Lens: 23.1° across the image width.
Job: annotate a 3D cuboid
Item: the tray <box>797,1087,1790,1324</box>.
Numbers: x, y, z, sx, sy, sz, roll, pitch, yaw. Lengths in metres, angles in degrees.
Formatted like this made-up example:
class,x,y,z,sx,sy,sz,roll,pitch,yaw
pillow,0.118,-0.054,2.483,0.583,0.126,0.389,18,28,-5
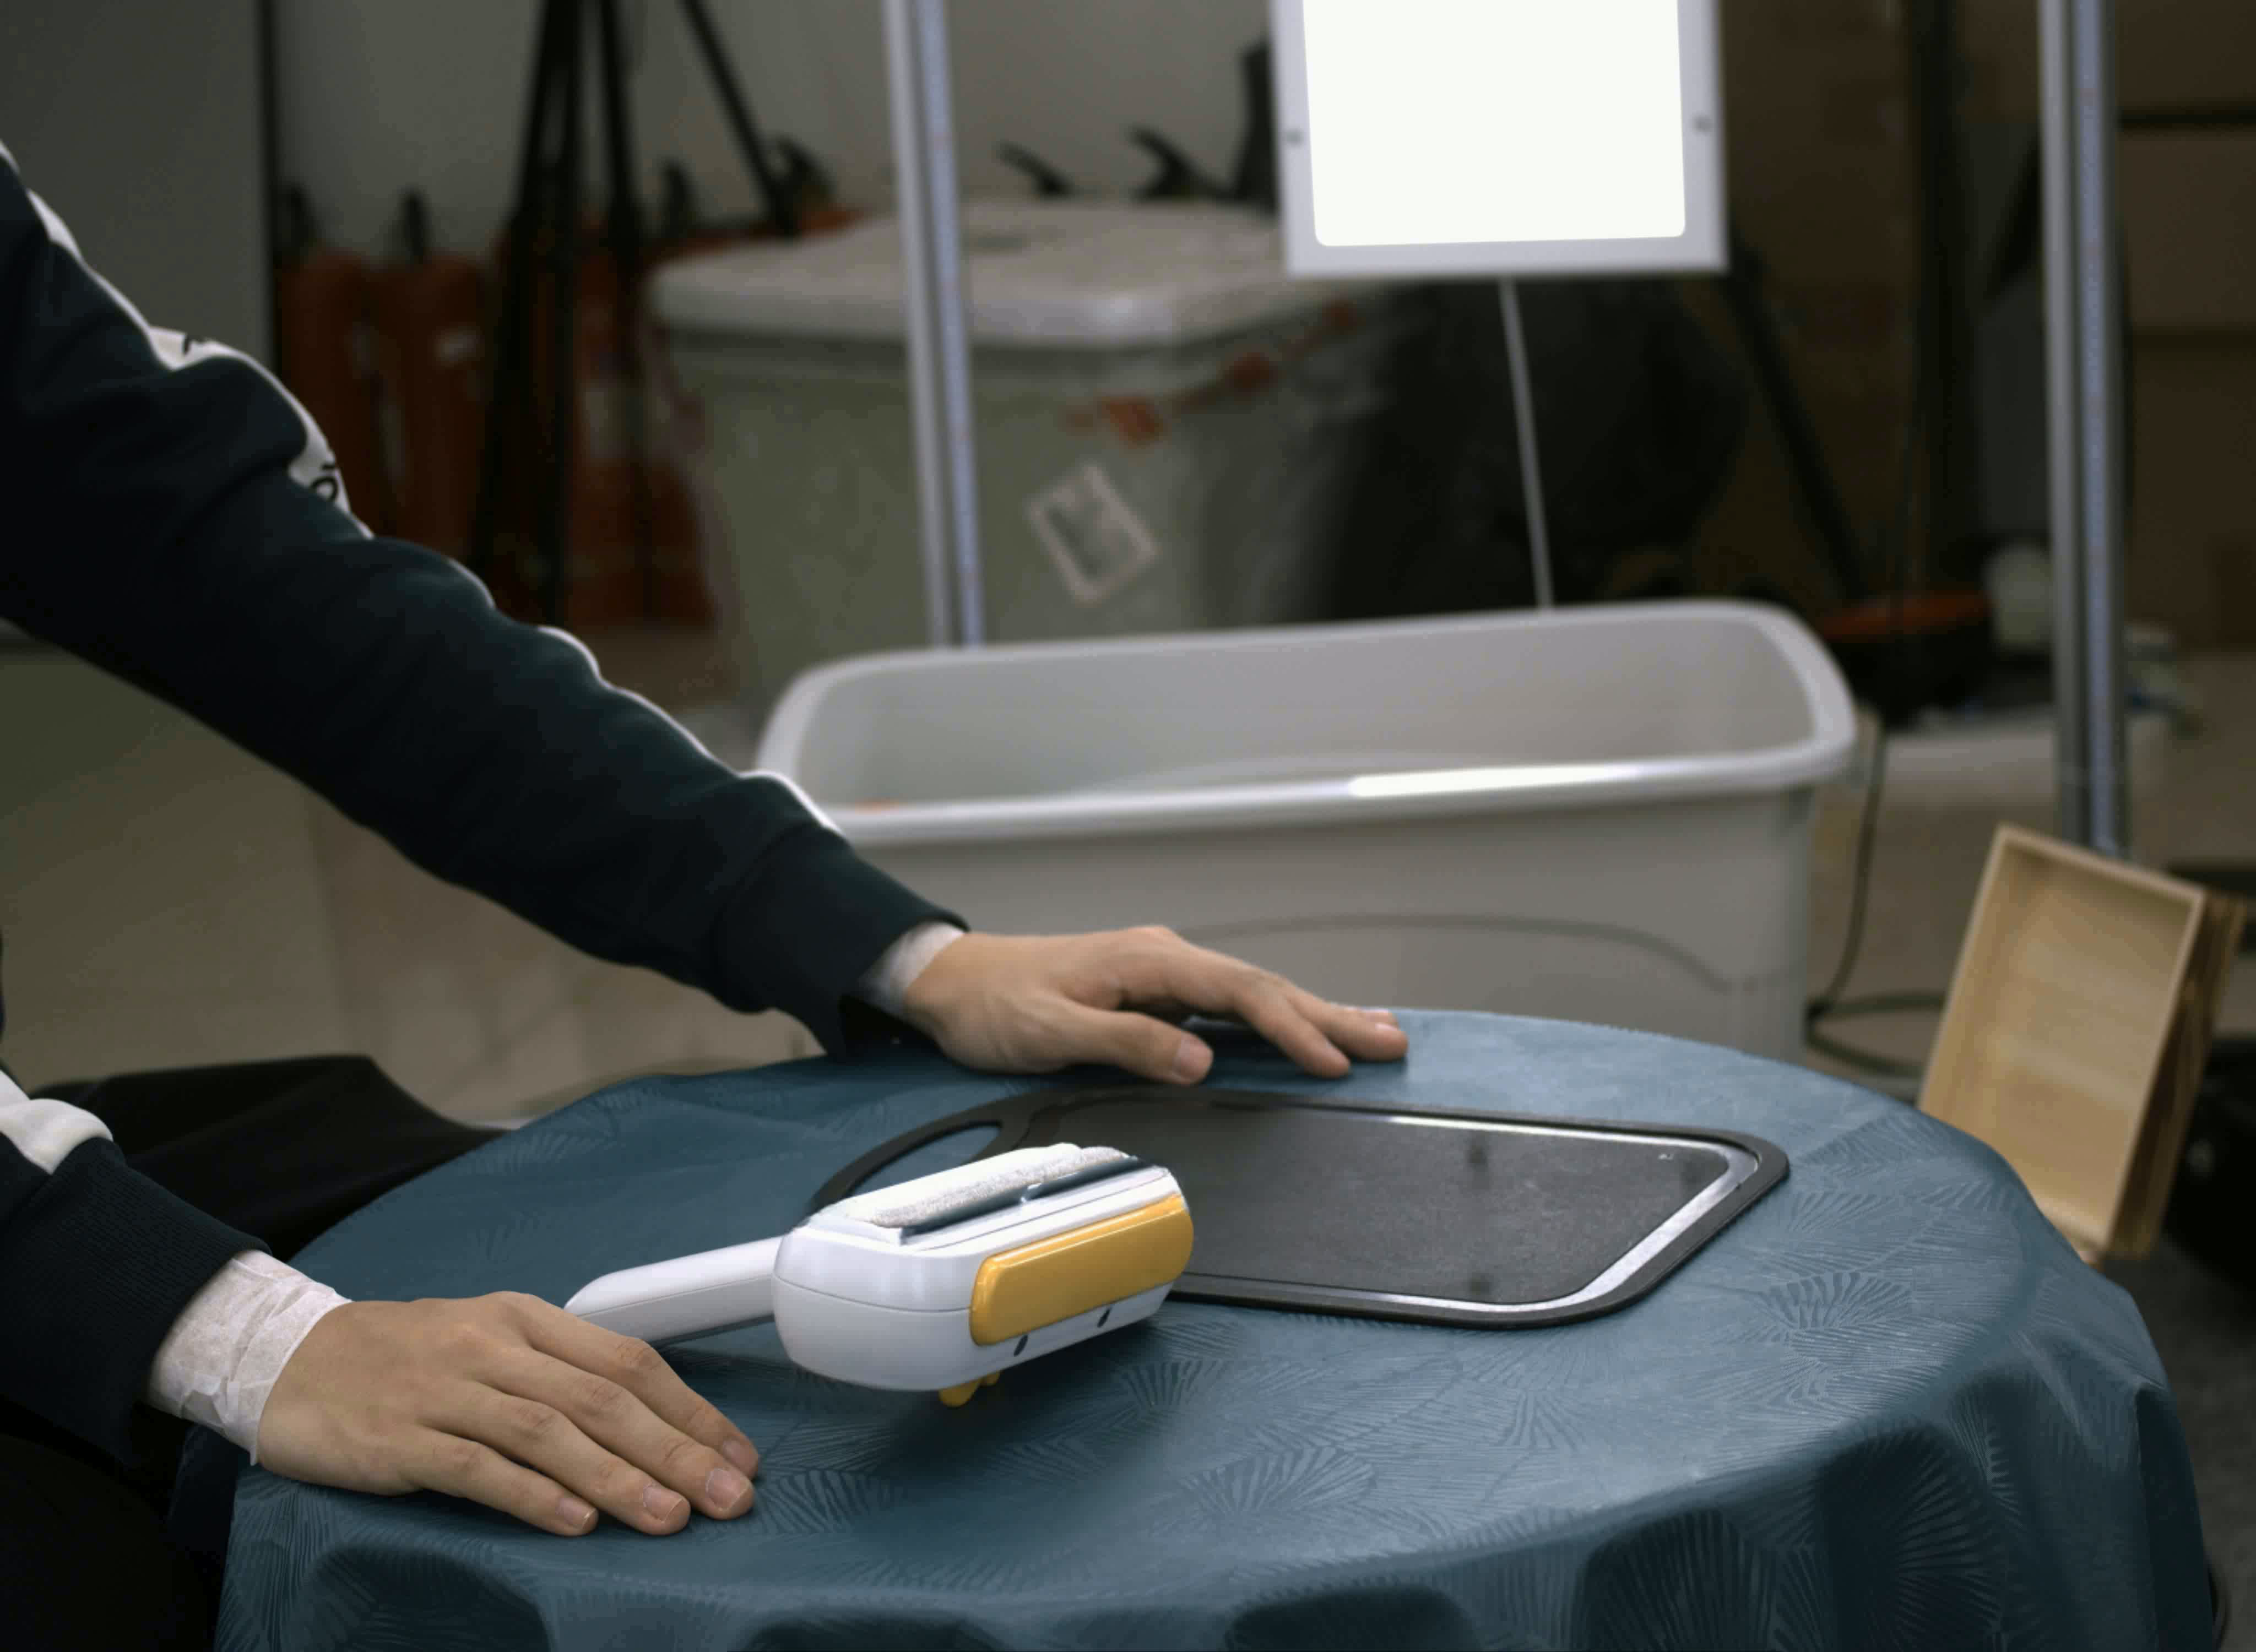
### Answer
class,x,y,z,sx,sy,sz,roll,pitch,yaw
tray,0.049,0.125,1.871,0.331,0.010,0.206,3,16,30

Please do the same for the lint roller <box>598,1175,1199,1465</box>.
class,x,y,z,sx,sy,sz,roll,pitch,yaw
lint roller,-0.092,0.160,1.730,0.196,0.074,0.188,-13,0,34
